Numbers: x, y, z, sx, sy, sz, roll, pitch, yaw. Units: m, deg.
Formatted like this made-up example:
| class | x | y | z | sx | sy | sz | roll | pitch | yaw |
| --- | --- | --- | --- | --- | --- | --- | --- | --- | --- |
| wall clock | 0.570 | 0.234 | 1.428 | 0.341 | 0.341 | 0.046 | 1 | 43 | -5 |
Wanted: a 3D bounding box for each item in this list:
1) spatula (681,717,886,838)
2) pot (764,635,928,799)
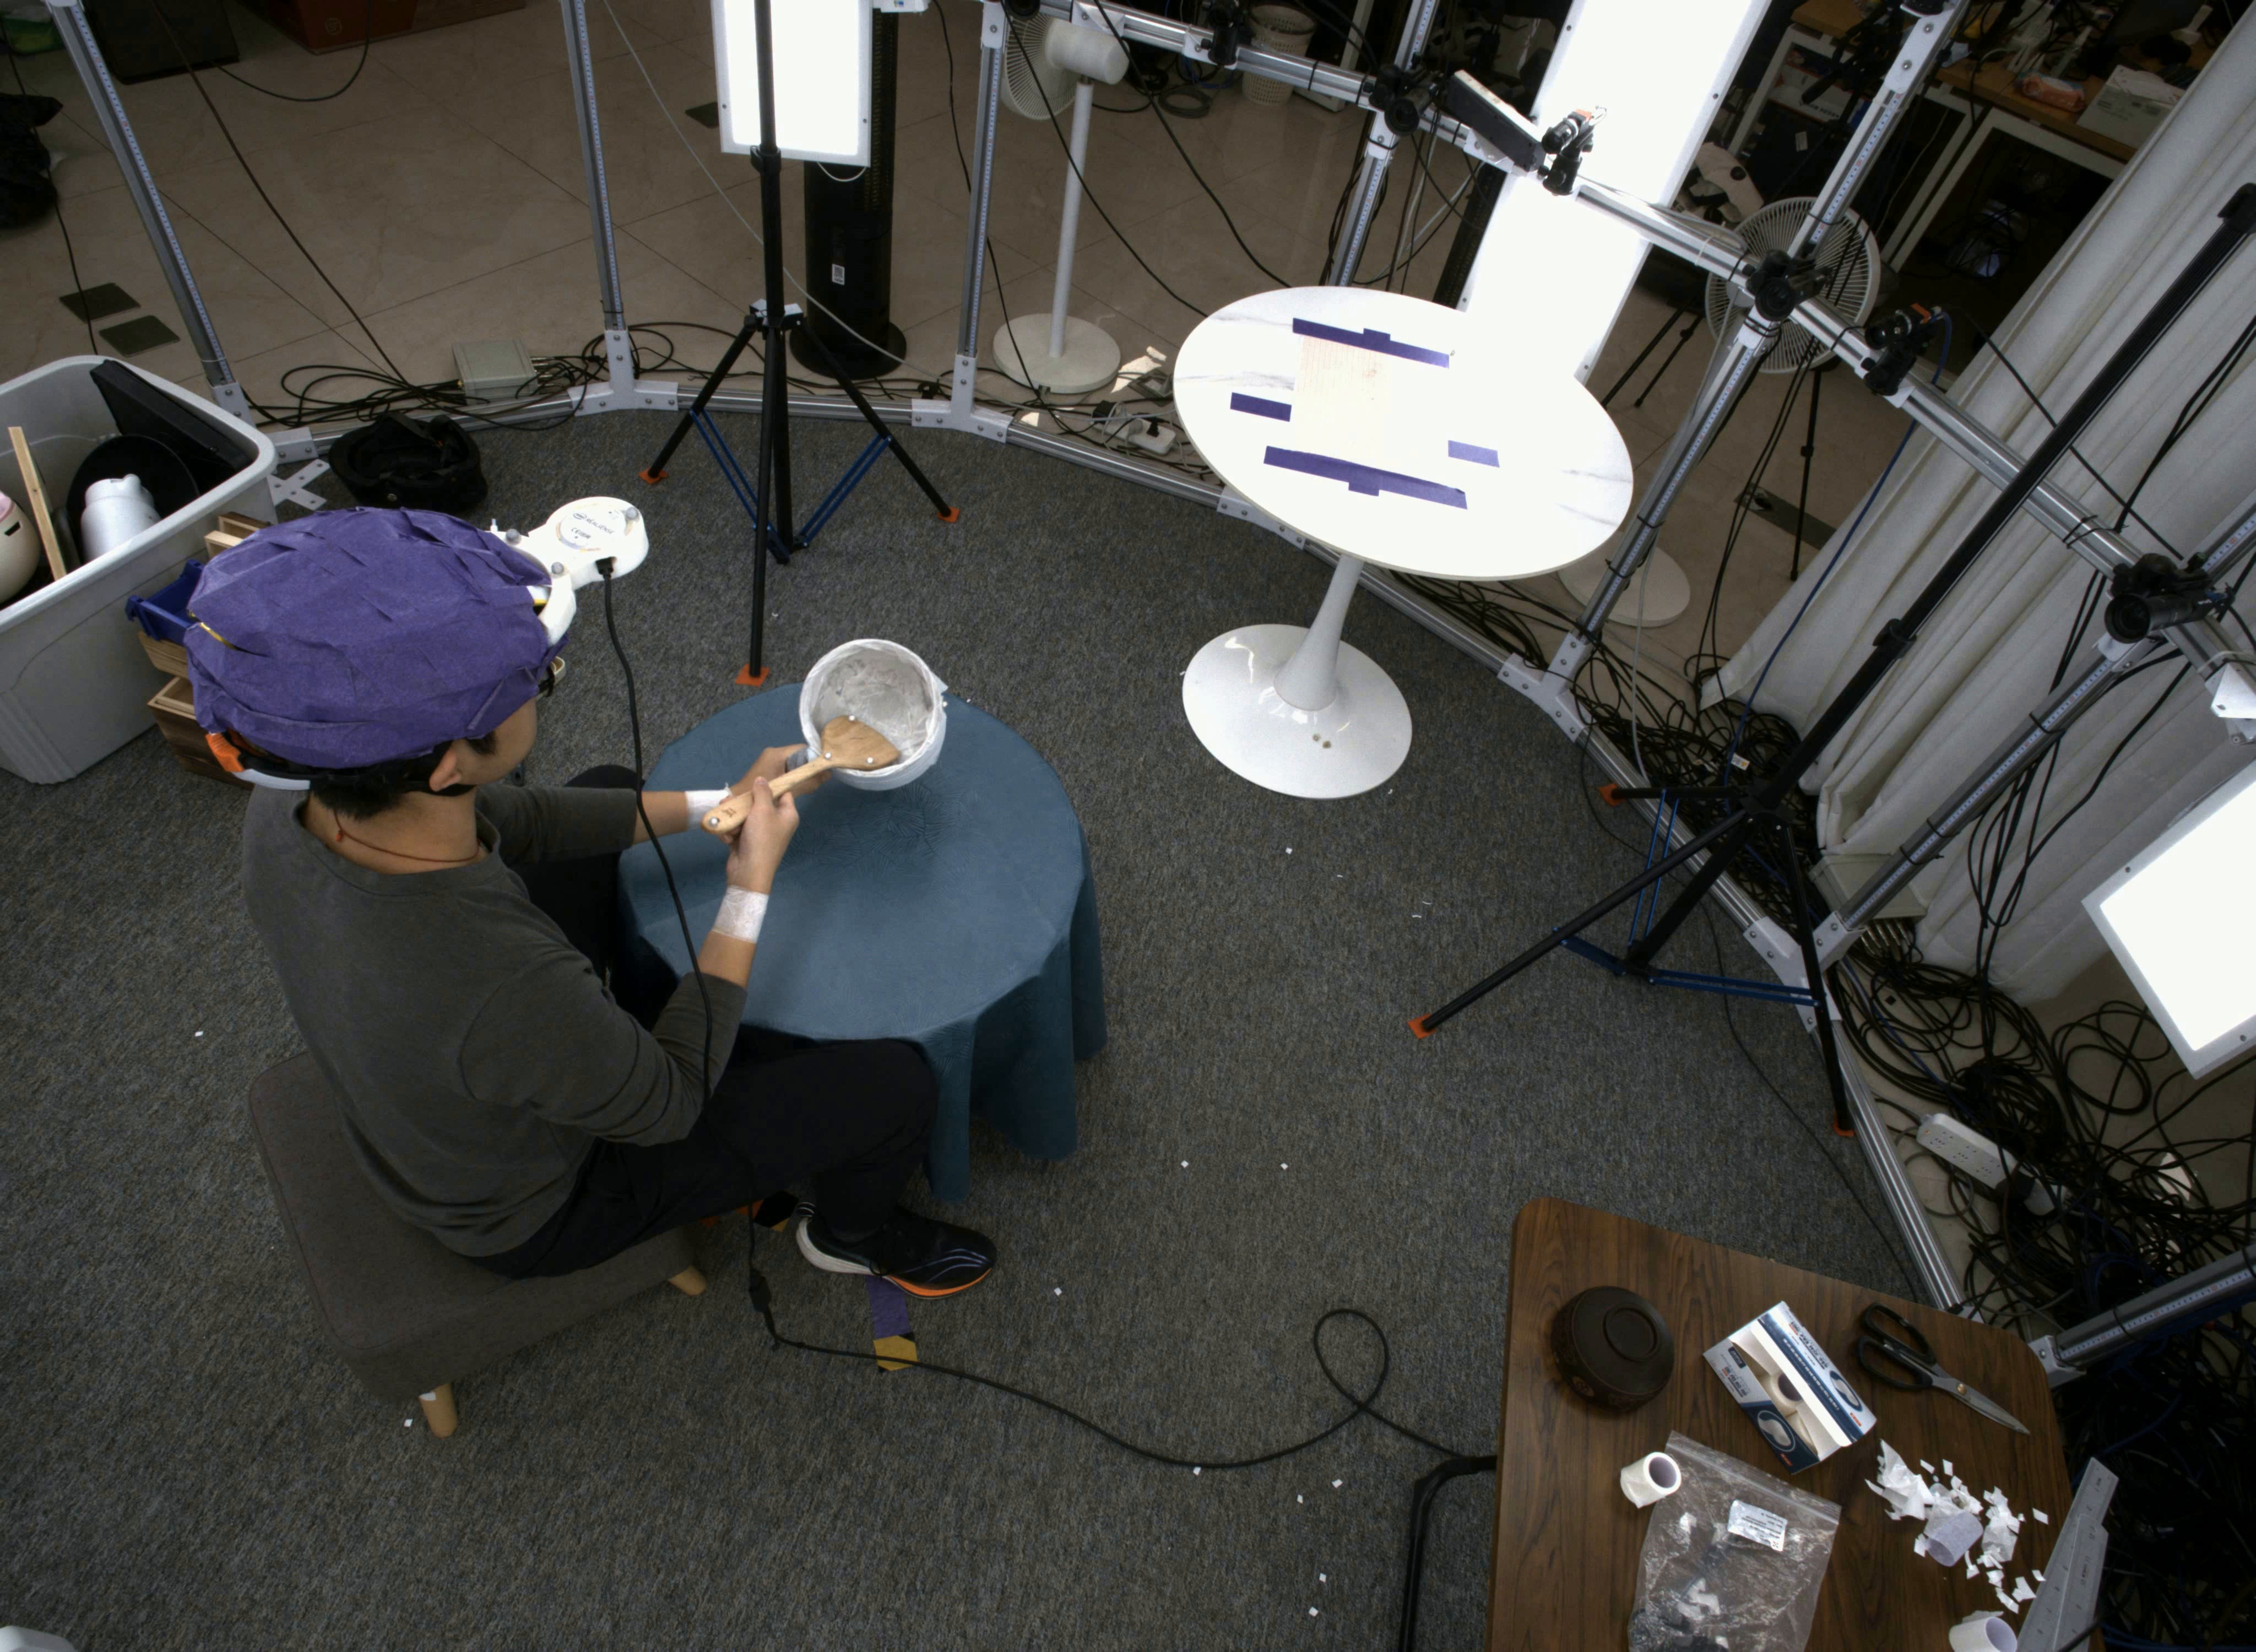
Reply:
| class | x | y | z | sx | sy | sz | roll | pitch | yaw |
| --- | --- | --- | --- | --- | --- | --- | --- | --- | --- |
| spatula | -0.402 | -0.056 | 1.514 | 0.095 | 0.019 | 0.389 | 32 | 24 | 3 |
| pot | -0.370 | -0.122 | 1.667 | 0.233 | 0.136 | 0.179 | -39 | 88 | -10 |
